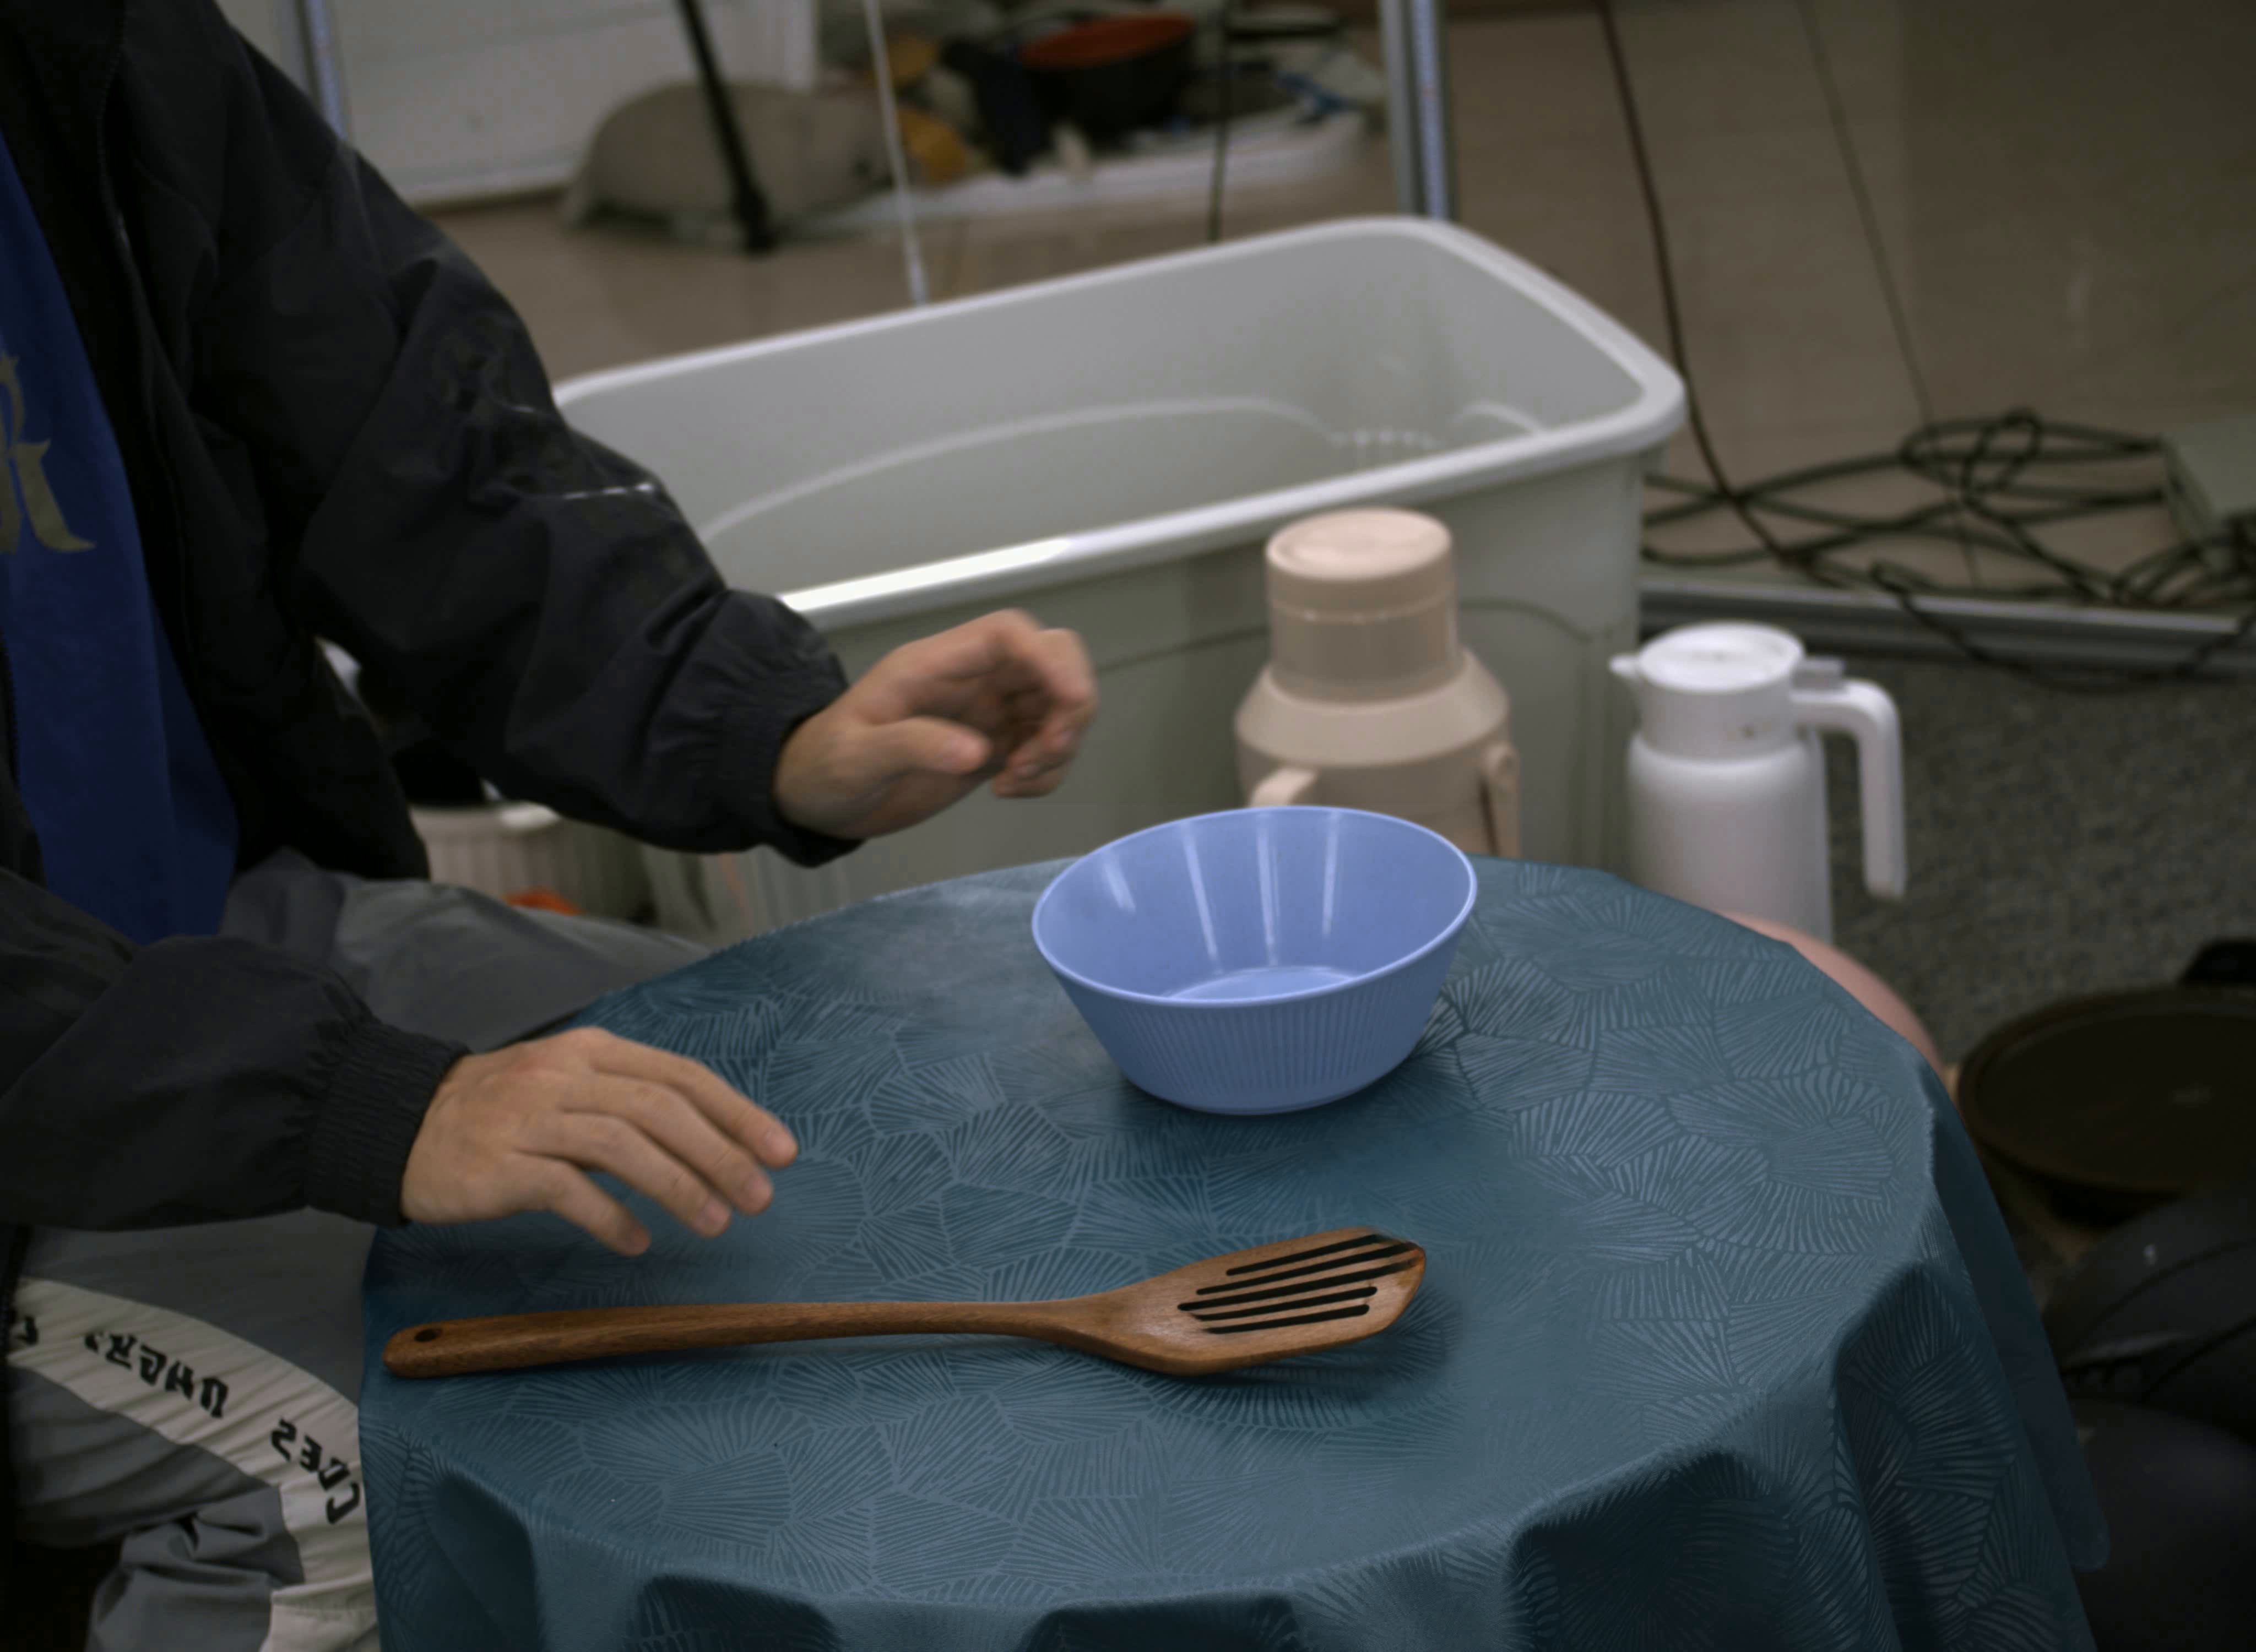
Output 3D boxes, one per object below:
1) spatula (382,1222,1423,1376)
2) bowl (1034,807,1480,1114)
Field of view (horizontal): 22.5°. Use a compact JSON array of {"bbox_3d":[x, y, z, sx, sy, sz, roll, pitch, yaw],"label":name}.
[{"bbox_3d":[-0.084,0.180,2.055,0.386,0.024,0.084,-4,25,10],"label":"spatula"},{"bbox_3d":[0.054,0.058,2.223,0.176,0.071,0.173,-6,24,3],"label":"bowl"}]
